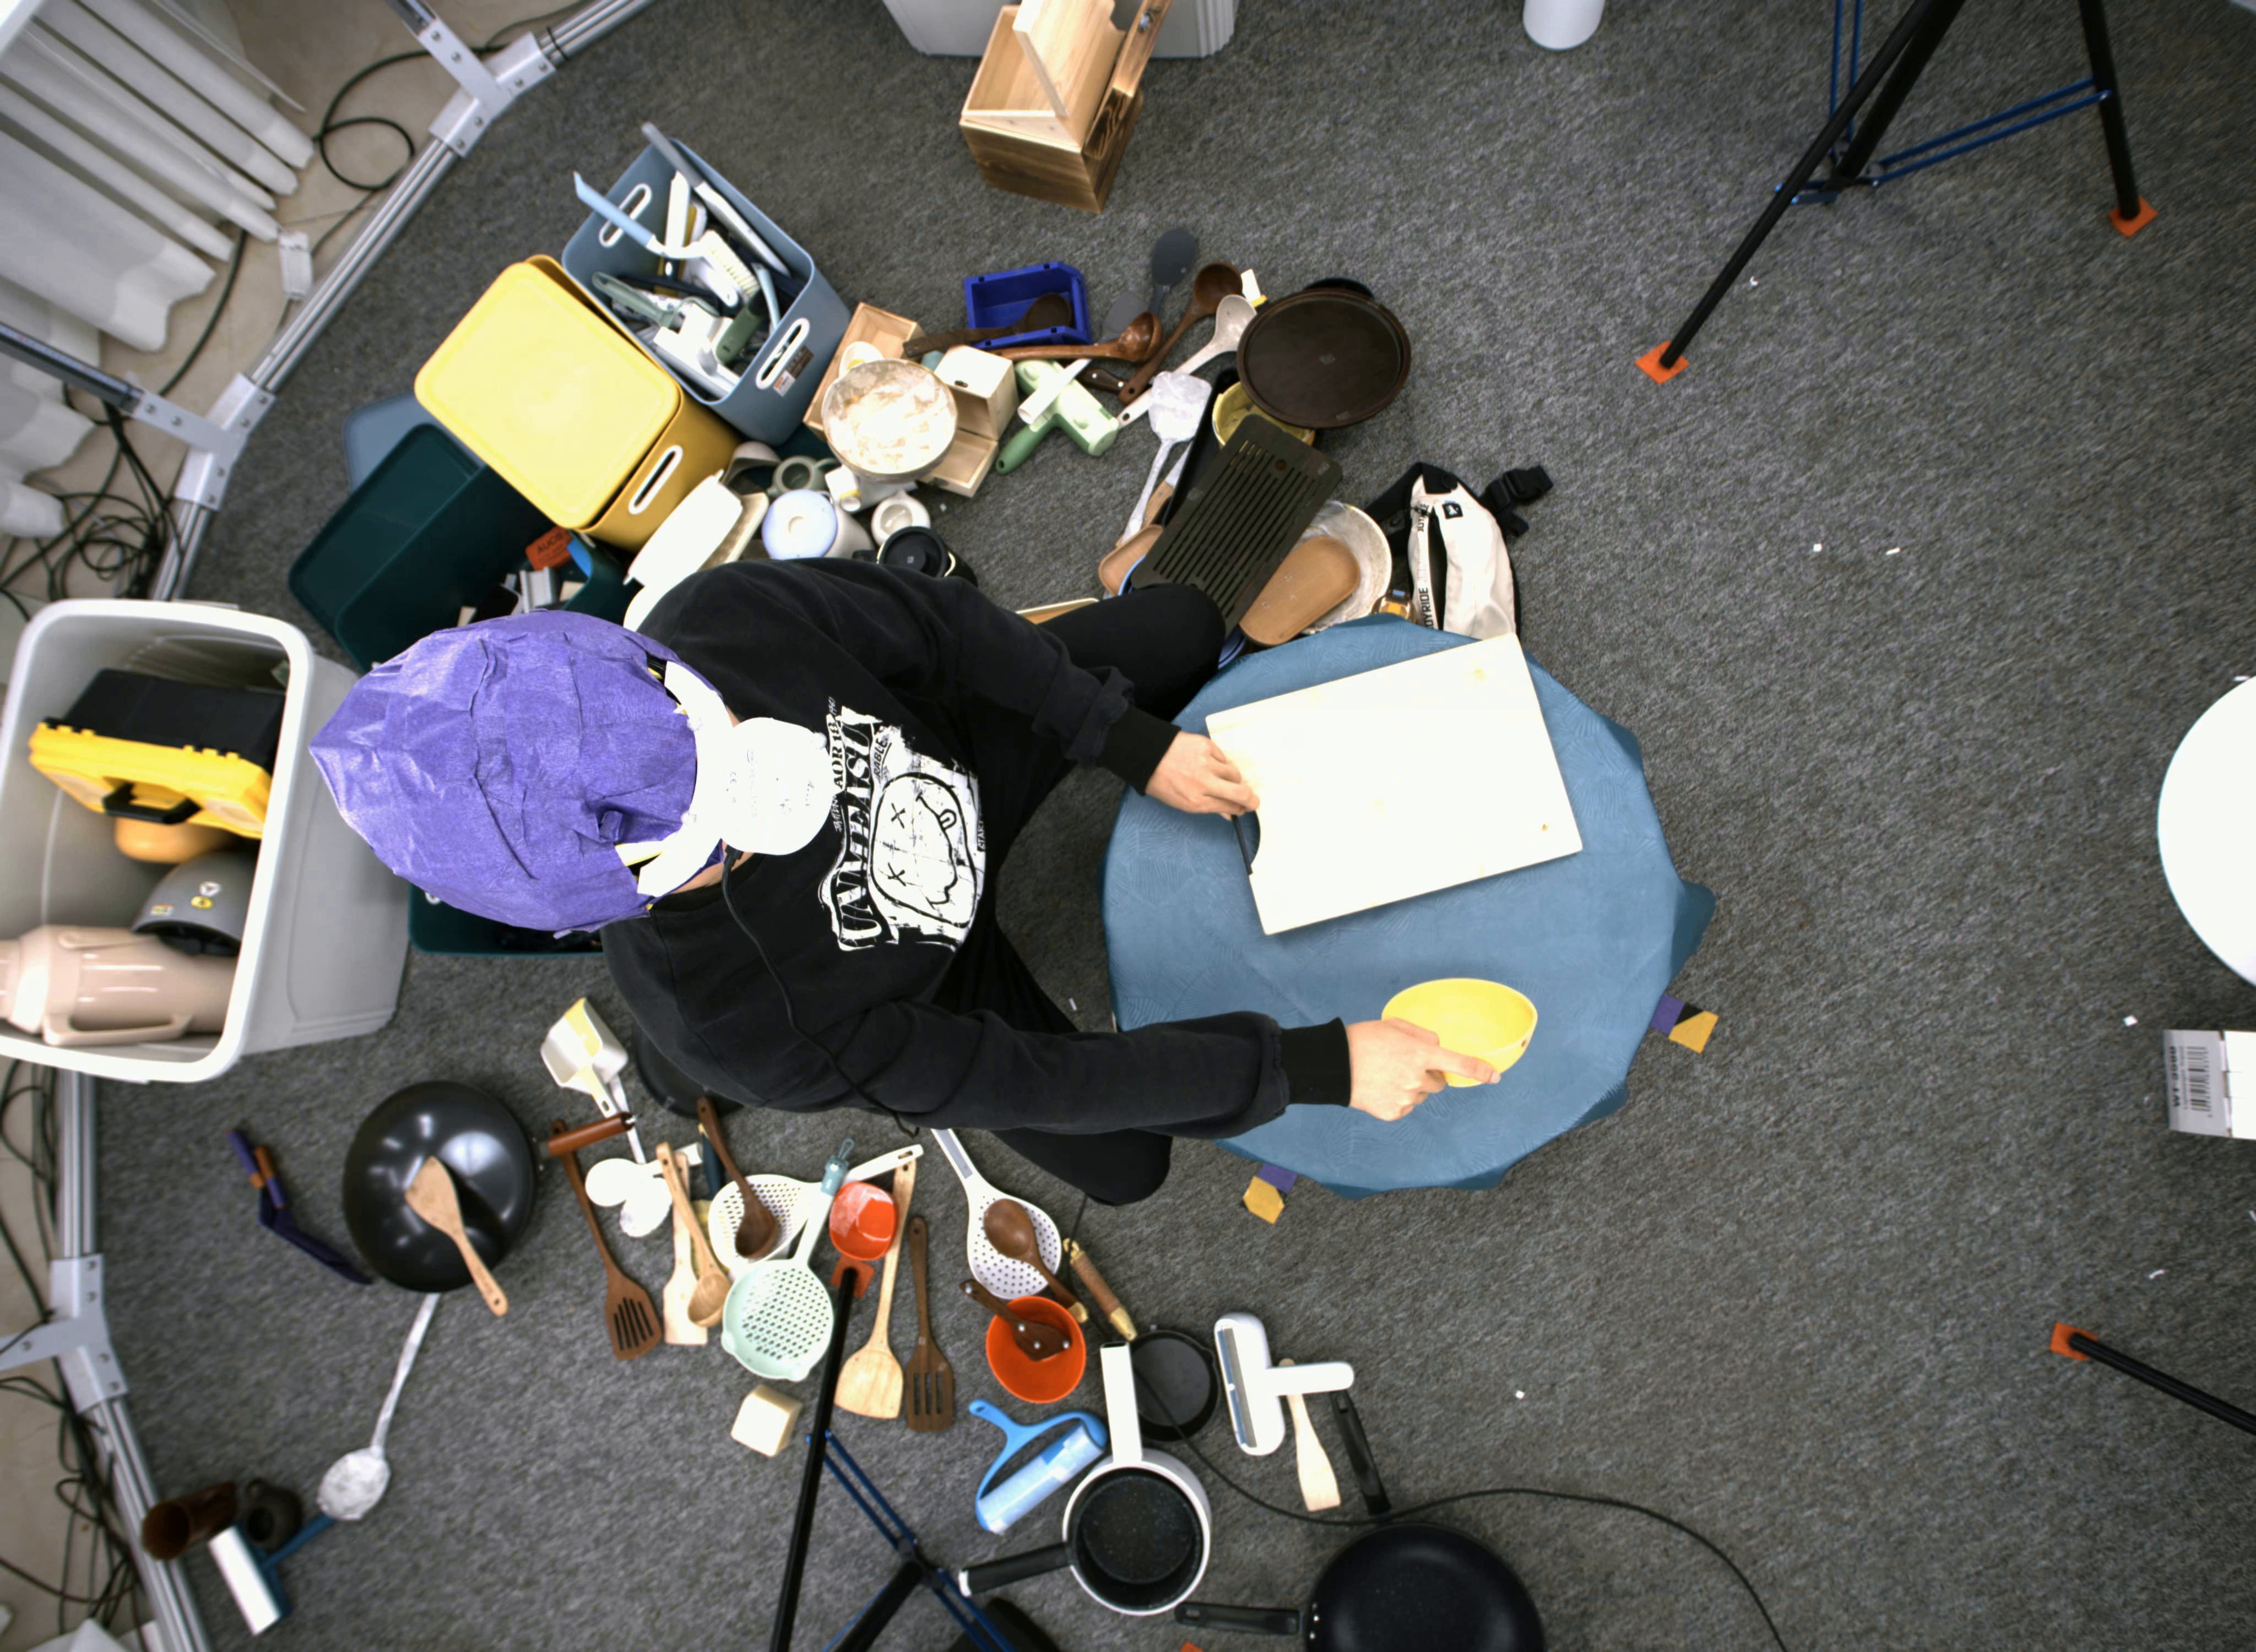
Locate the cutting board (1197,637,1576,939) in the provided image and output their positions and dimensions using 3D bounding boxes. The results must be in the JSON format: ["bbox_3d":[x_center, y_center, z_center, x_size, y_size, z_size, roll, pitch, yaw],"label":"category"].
[{"bbox_3d":[0.272,-0.042,1.447,0.349,0.023,0.249,-16,83,3],"label":"cutting board"}]

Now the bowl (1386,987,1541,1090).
[{"bbox_3d":[0.323,0.209,1.322,0.146,0.142,0.061,-8,108,9],"label":"bowl"}]
